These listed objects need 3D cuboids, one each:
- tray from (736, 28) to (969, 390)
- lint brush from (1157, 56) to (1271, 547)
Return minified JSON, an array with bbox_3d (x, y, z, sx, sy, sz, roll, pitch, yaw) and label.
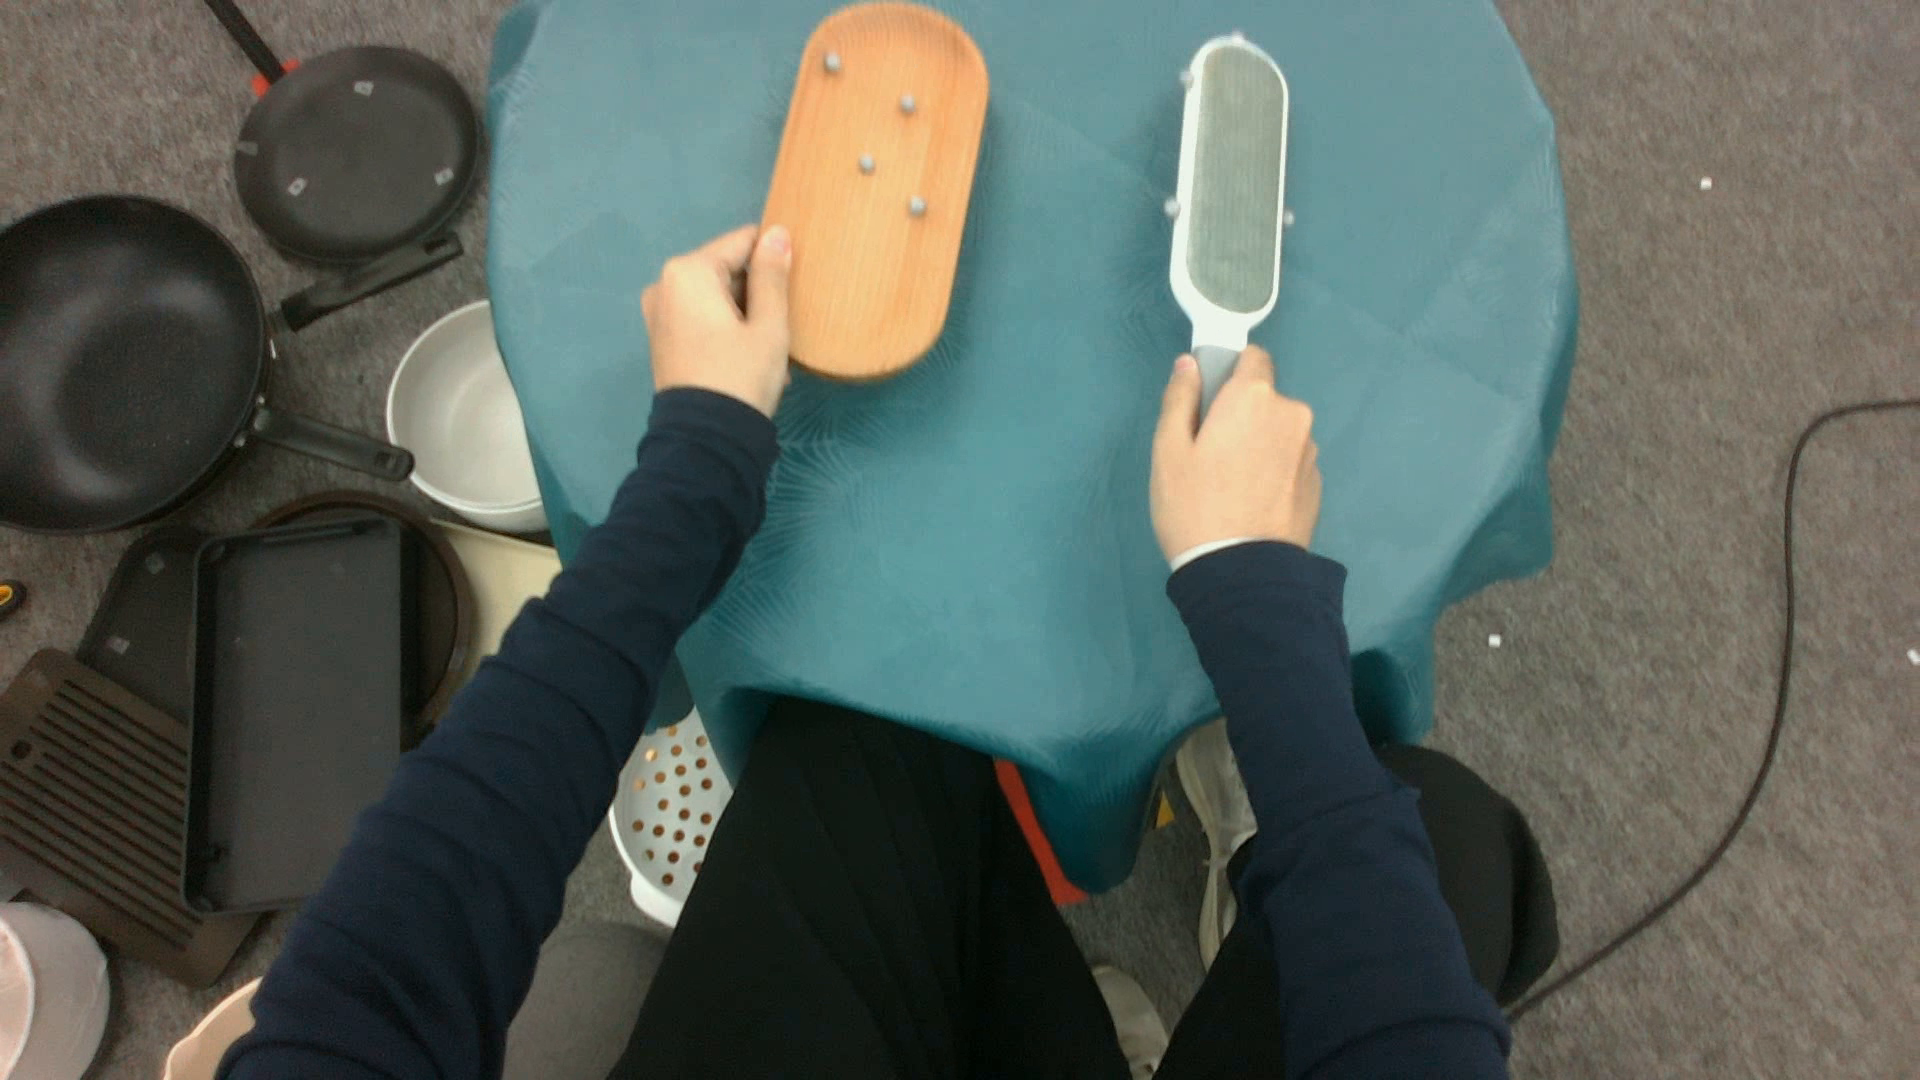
[{"bbox_3d":[-0.054,-0.180,0.729,0.102,0.020,0.232,10,66,-3],"label":"tray"},{"bbox_3d":[0.128,-0.135,0.714,0.060,0.021,0.310,17,62,-15],"label":"lint brush"}]
